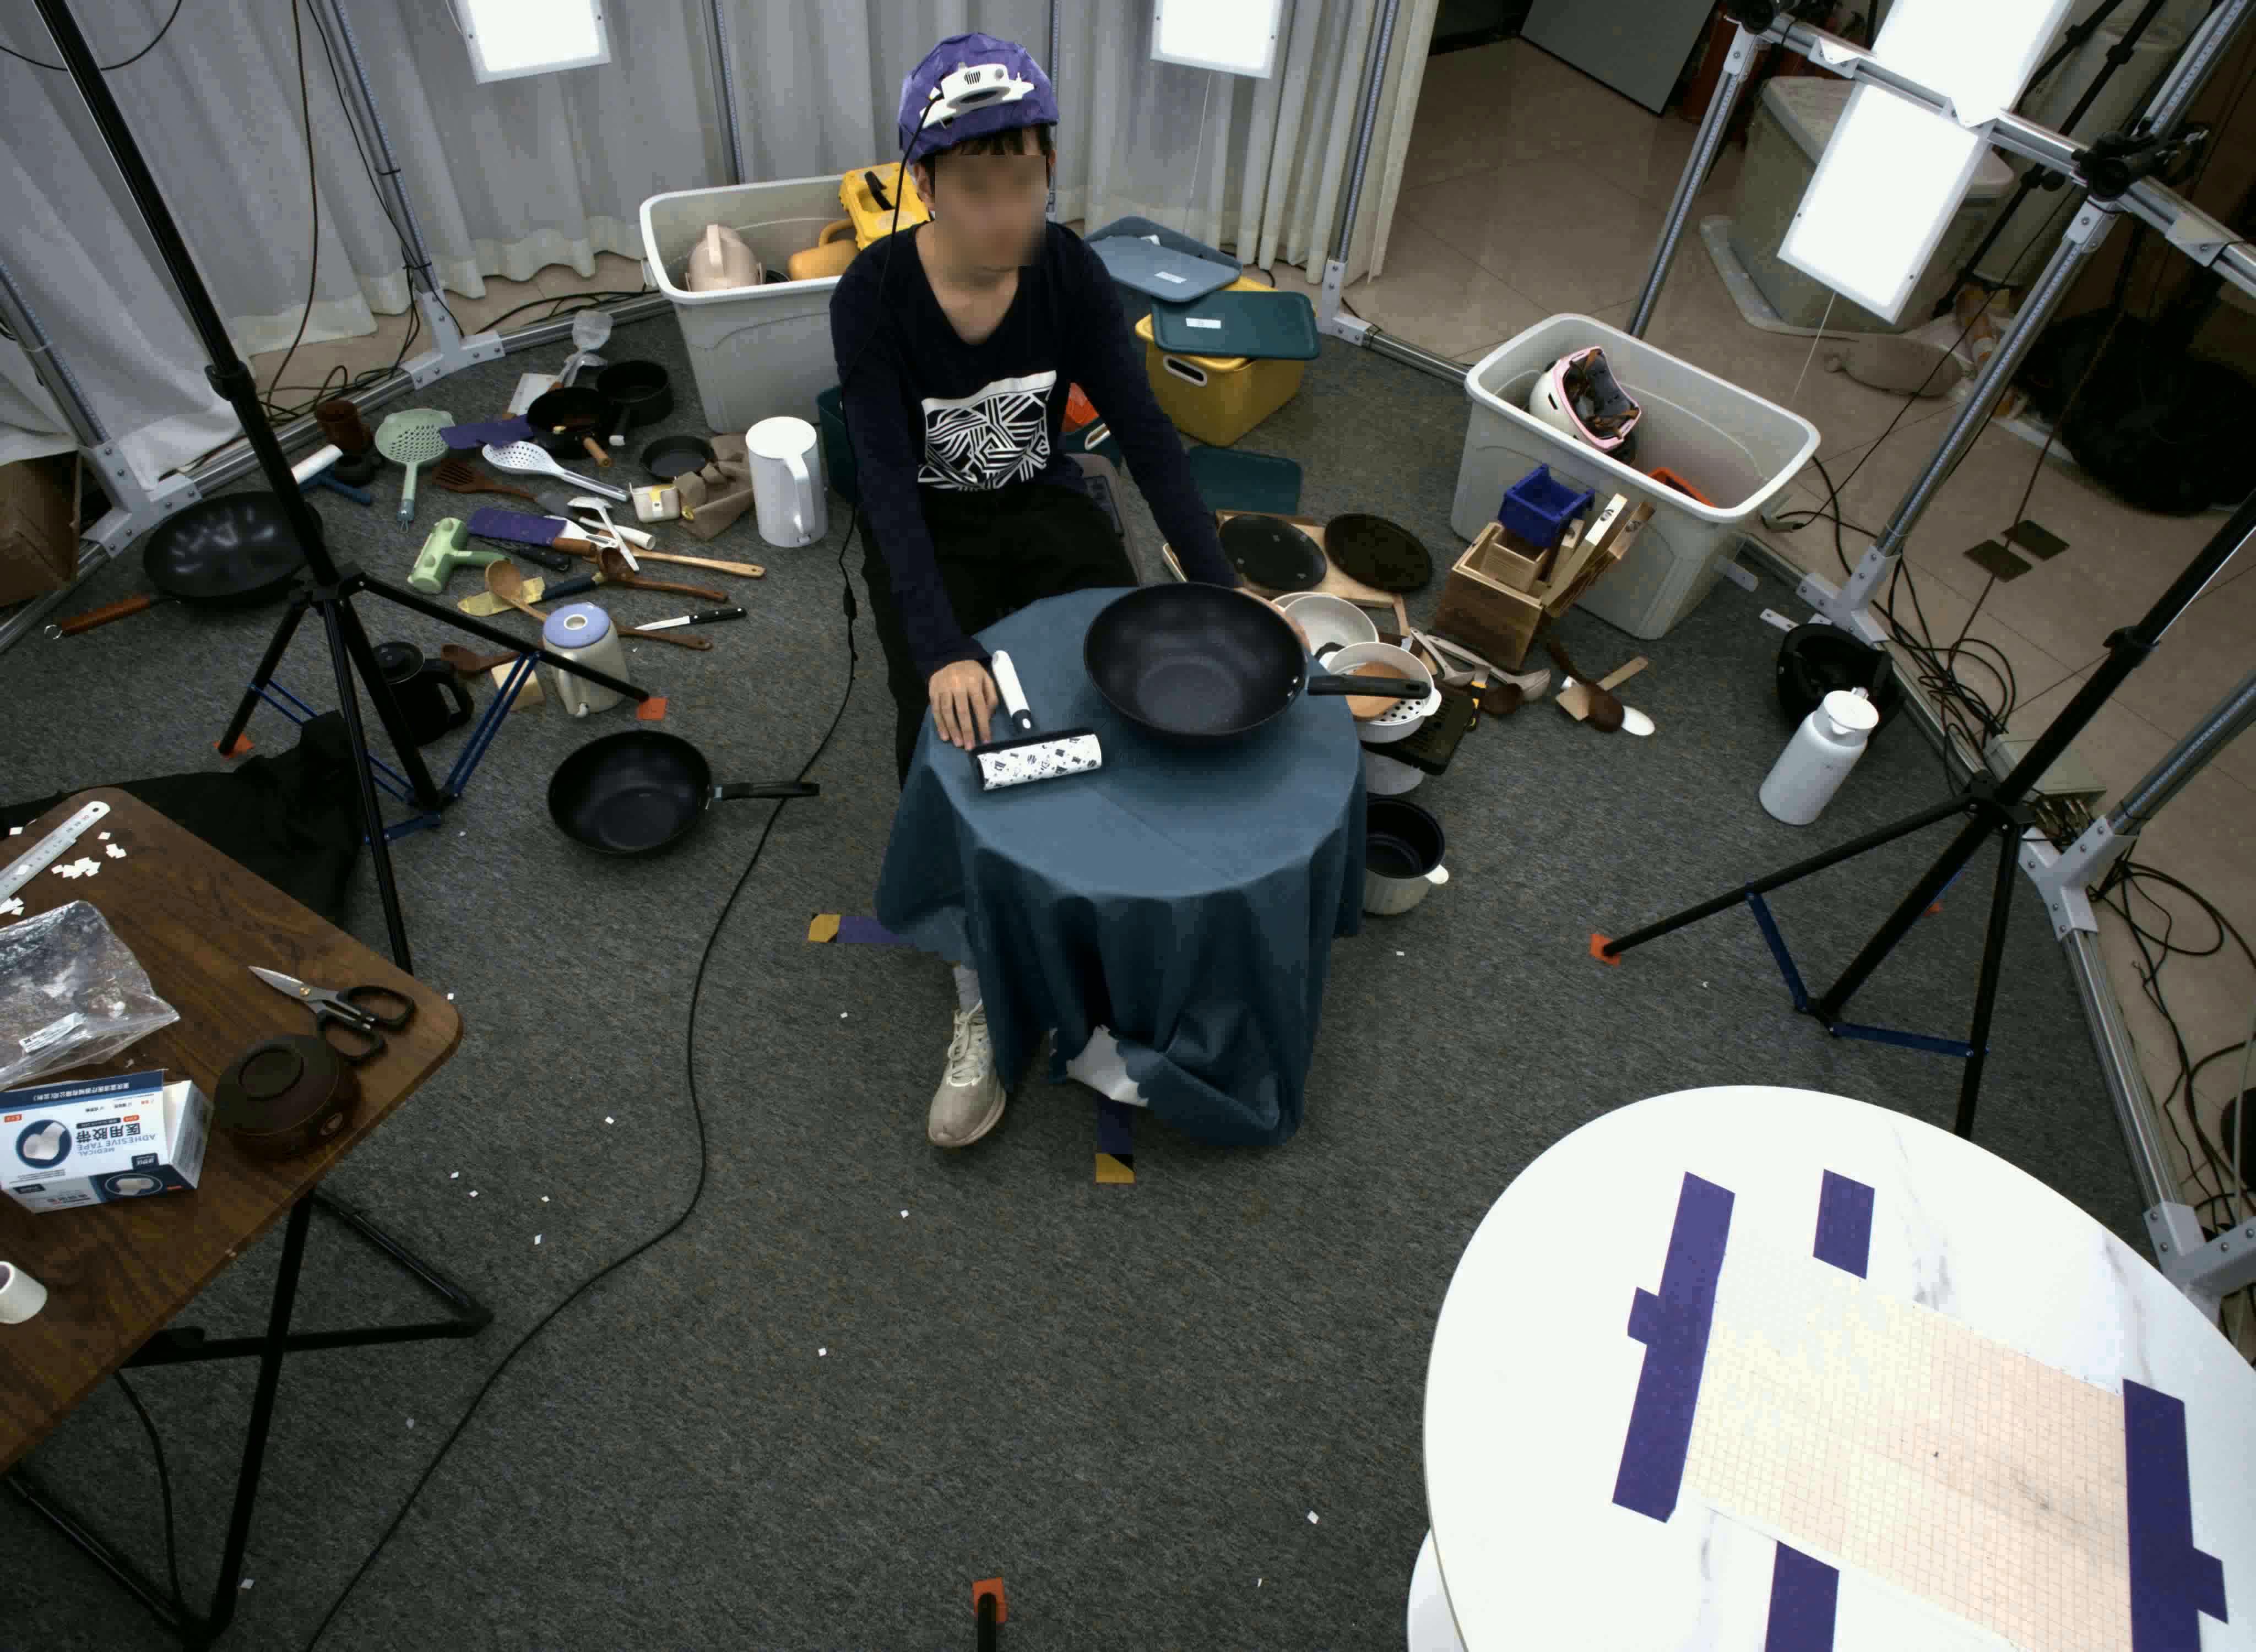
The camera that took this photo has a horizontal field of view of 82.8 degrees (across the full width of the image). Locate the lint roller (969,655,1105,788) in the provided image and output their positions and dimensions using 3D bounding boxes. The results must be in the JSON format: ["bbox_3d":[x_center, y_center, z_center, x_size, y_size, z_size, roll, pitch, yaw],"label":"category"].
[{"bbox_3d":[-0.151,-0.159,1.769,0.176,0.049,0.253,-13,49,-13],"label":"lint roller"}]

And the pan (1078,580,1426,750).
[{"bbox_3d":[0.165,-0.201,1.783,0.478,0.109,0.317,12,51,7],"label":"pan"}]
